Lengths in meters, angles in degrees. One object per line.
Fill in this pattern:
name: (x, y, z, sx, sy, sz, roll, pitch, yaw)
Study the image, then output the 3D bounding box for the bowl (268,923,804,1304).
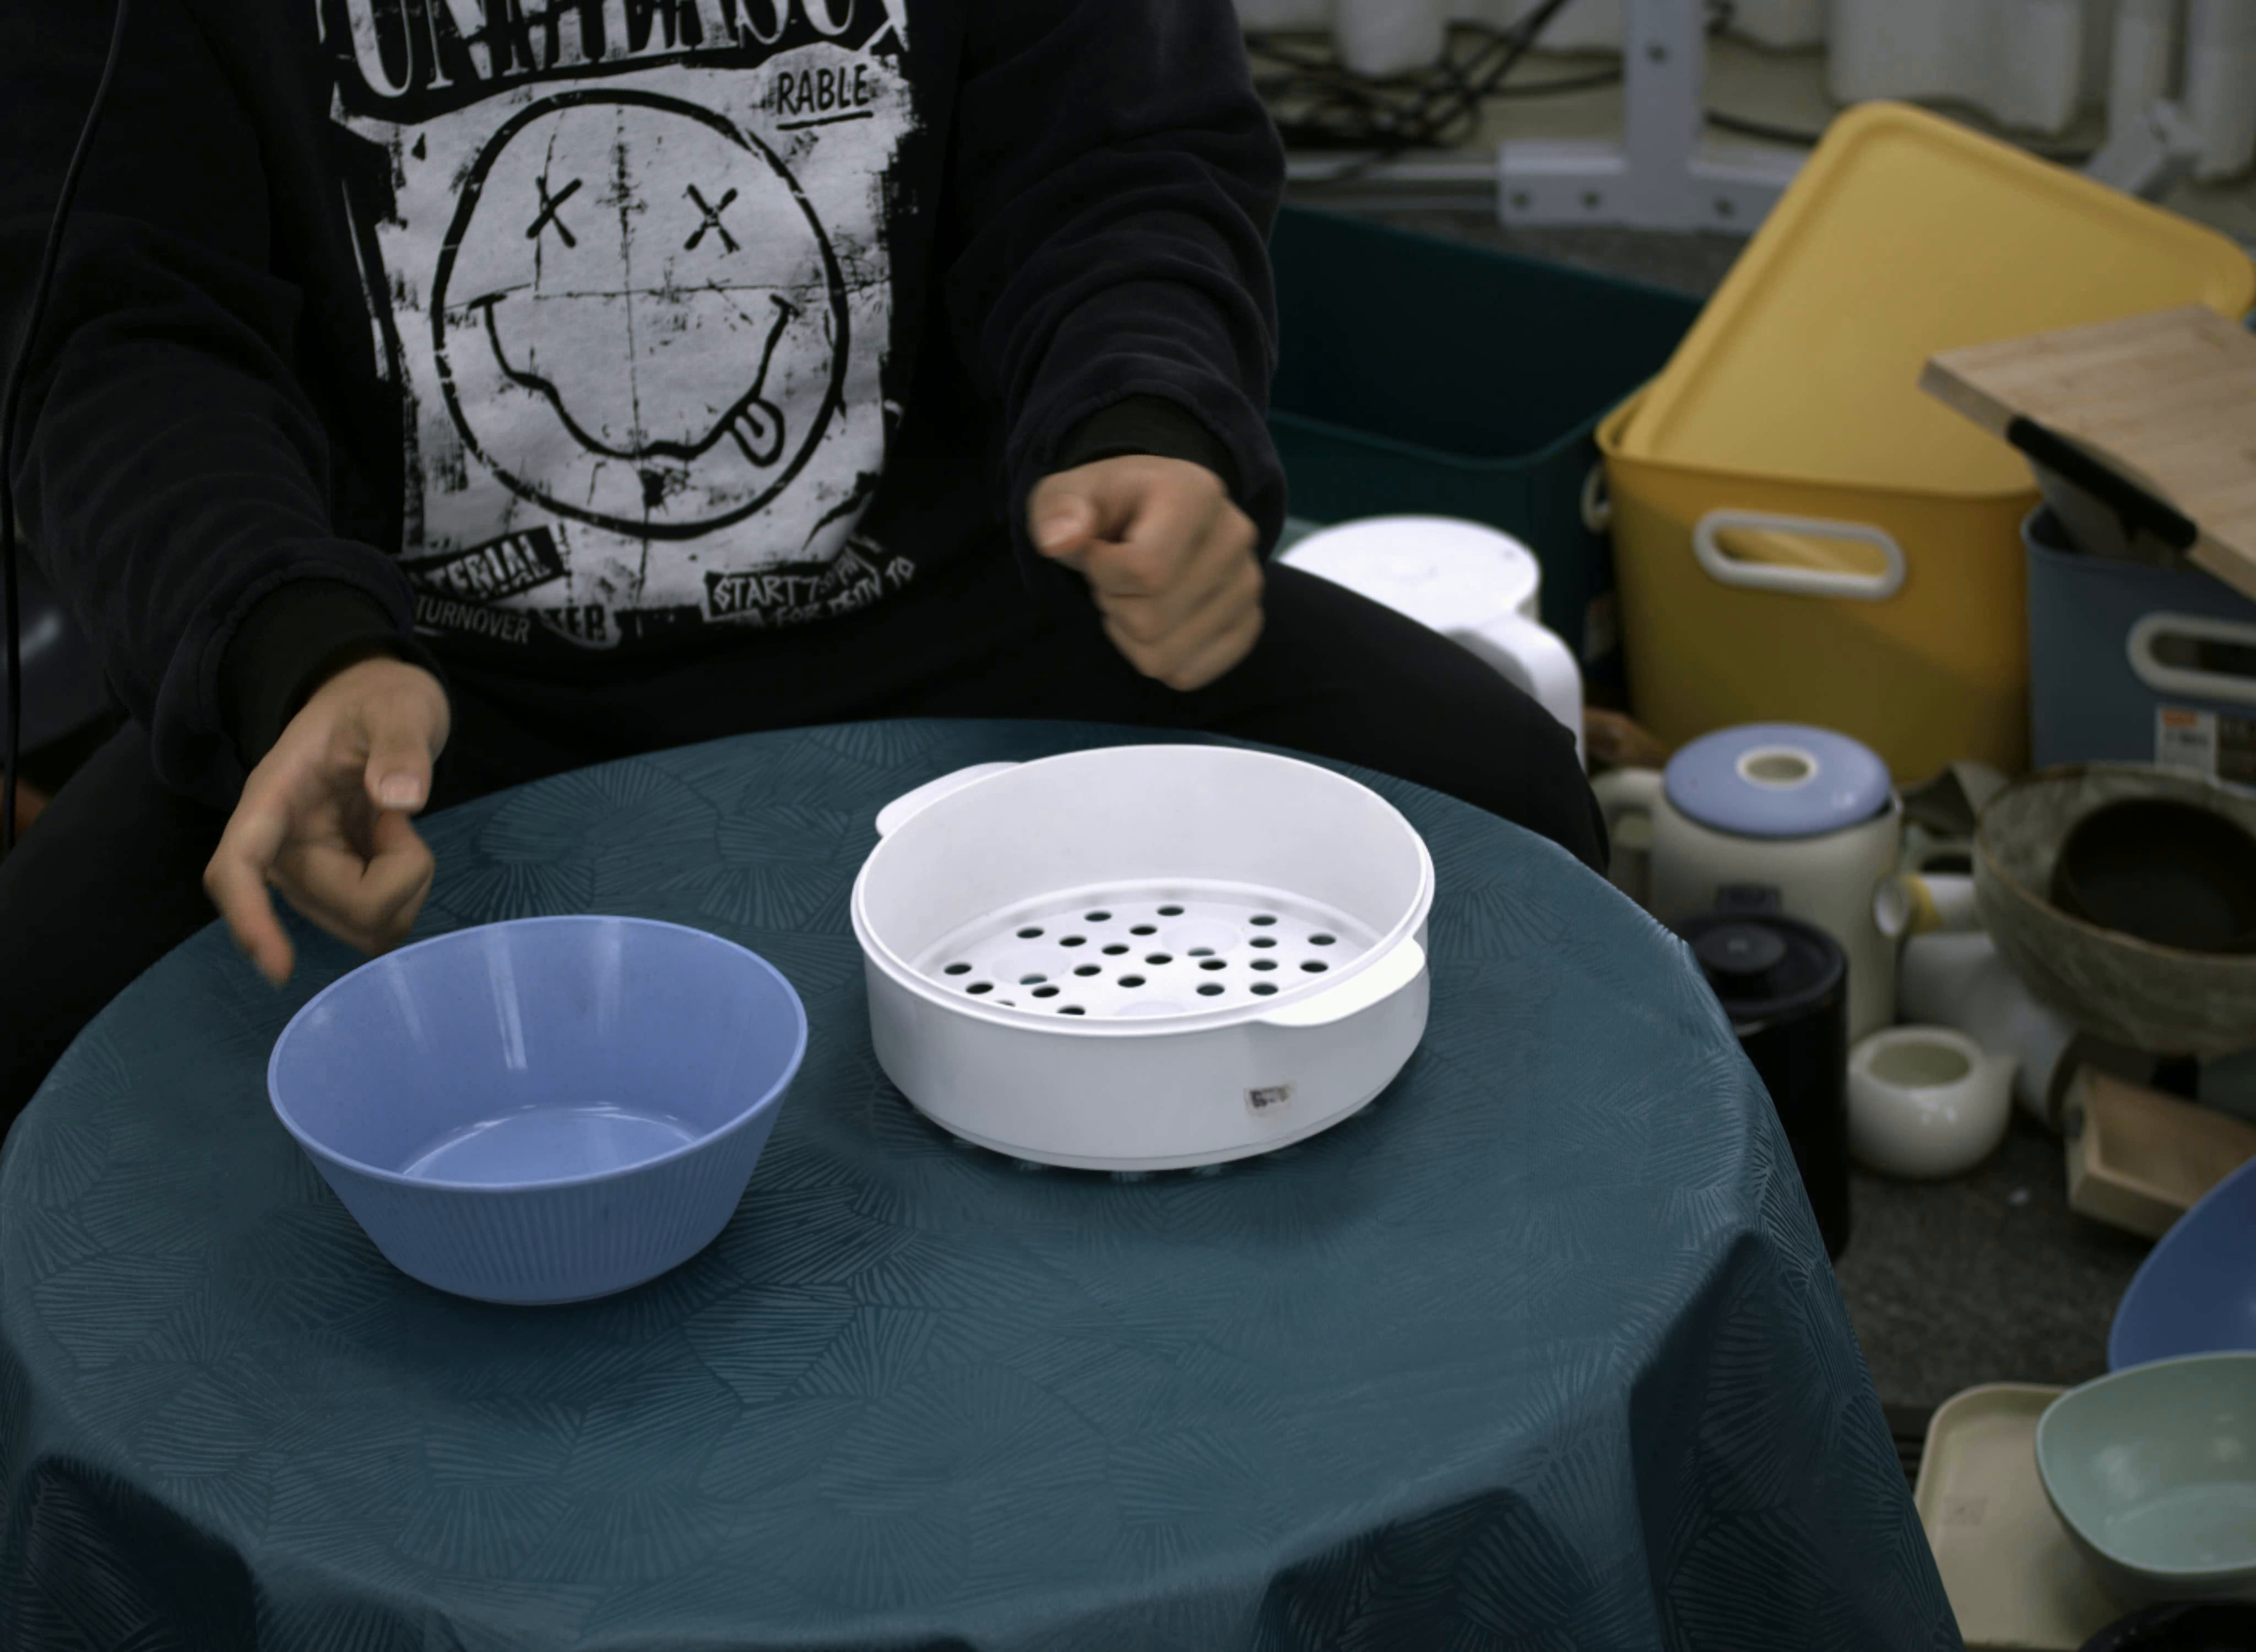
bowl: (-0.192, 0.101, 1.845, 0.175, 0.069, 0.178, -1, 26, 1)

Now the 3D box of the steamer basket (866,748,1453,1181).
steamer basket: (0.011, 0.048, 1.930, 0.204, 0.068, 0.230, -25, 37, -37)
